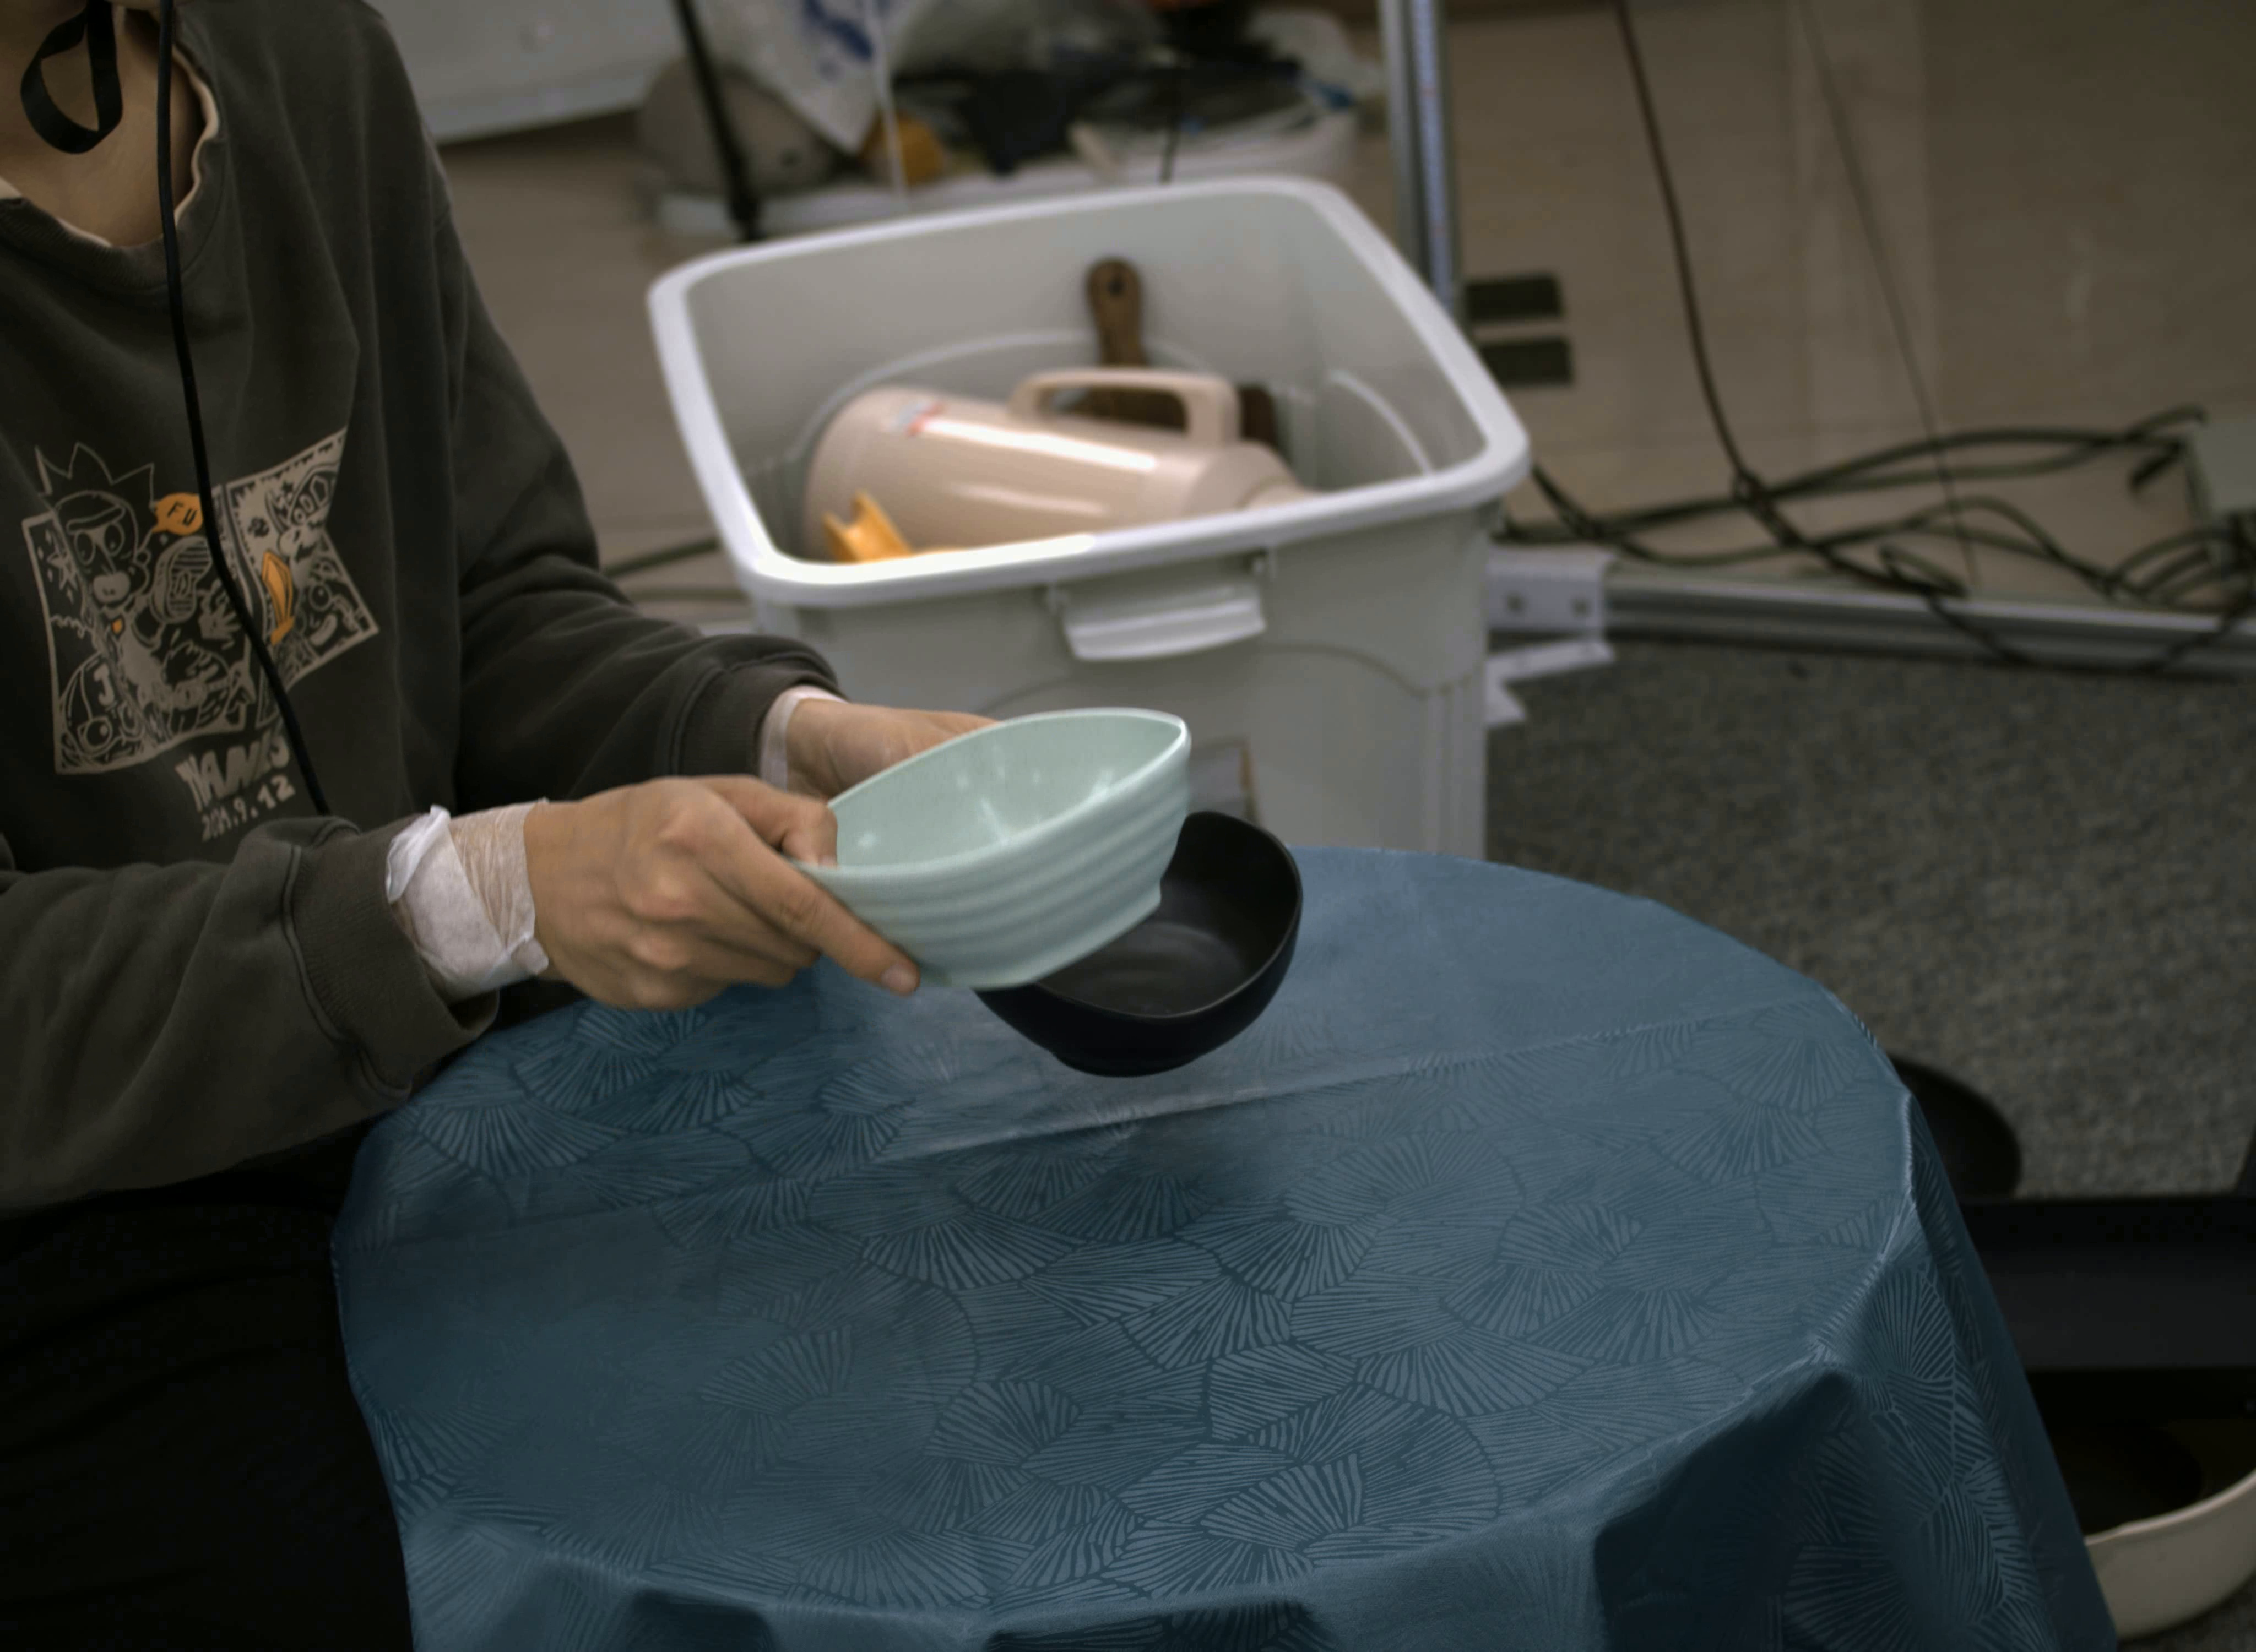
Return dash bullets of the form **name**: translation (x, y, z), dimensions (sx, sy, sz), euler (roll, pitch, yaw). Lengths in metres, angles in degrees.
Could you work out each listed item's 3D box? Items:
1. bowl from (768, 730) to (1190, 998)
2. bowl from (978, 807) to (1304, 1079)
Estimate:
- **bowl**: translation (-0.046, 0.017, 1.977), dimensions (0.151, 0.059, 0.150), euler (-14, 16, 4)
- **bowl**: translation (0.001, 0.052, 2.173), dimensions (0.137, 0.068, 0.168), euler (-13, 28, -15)
